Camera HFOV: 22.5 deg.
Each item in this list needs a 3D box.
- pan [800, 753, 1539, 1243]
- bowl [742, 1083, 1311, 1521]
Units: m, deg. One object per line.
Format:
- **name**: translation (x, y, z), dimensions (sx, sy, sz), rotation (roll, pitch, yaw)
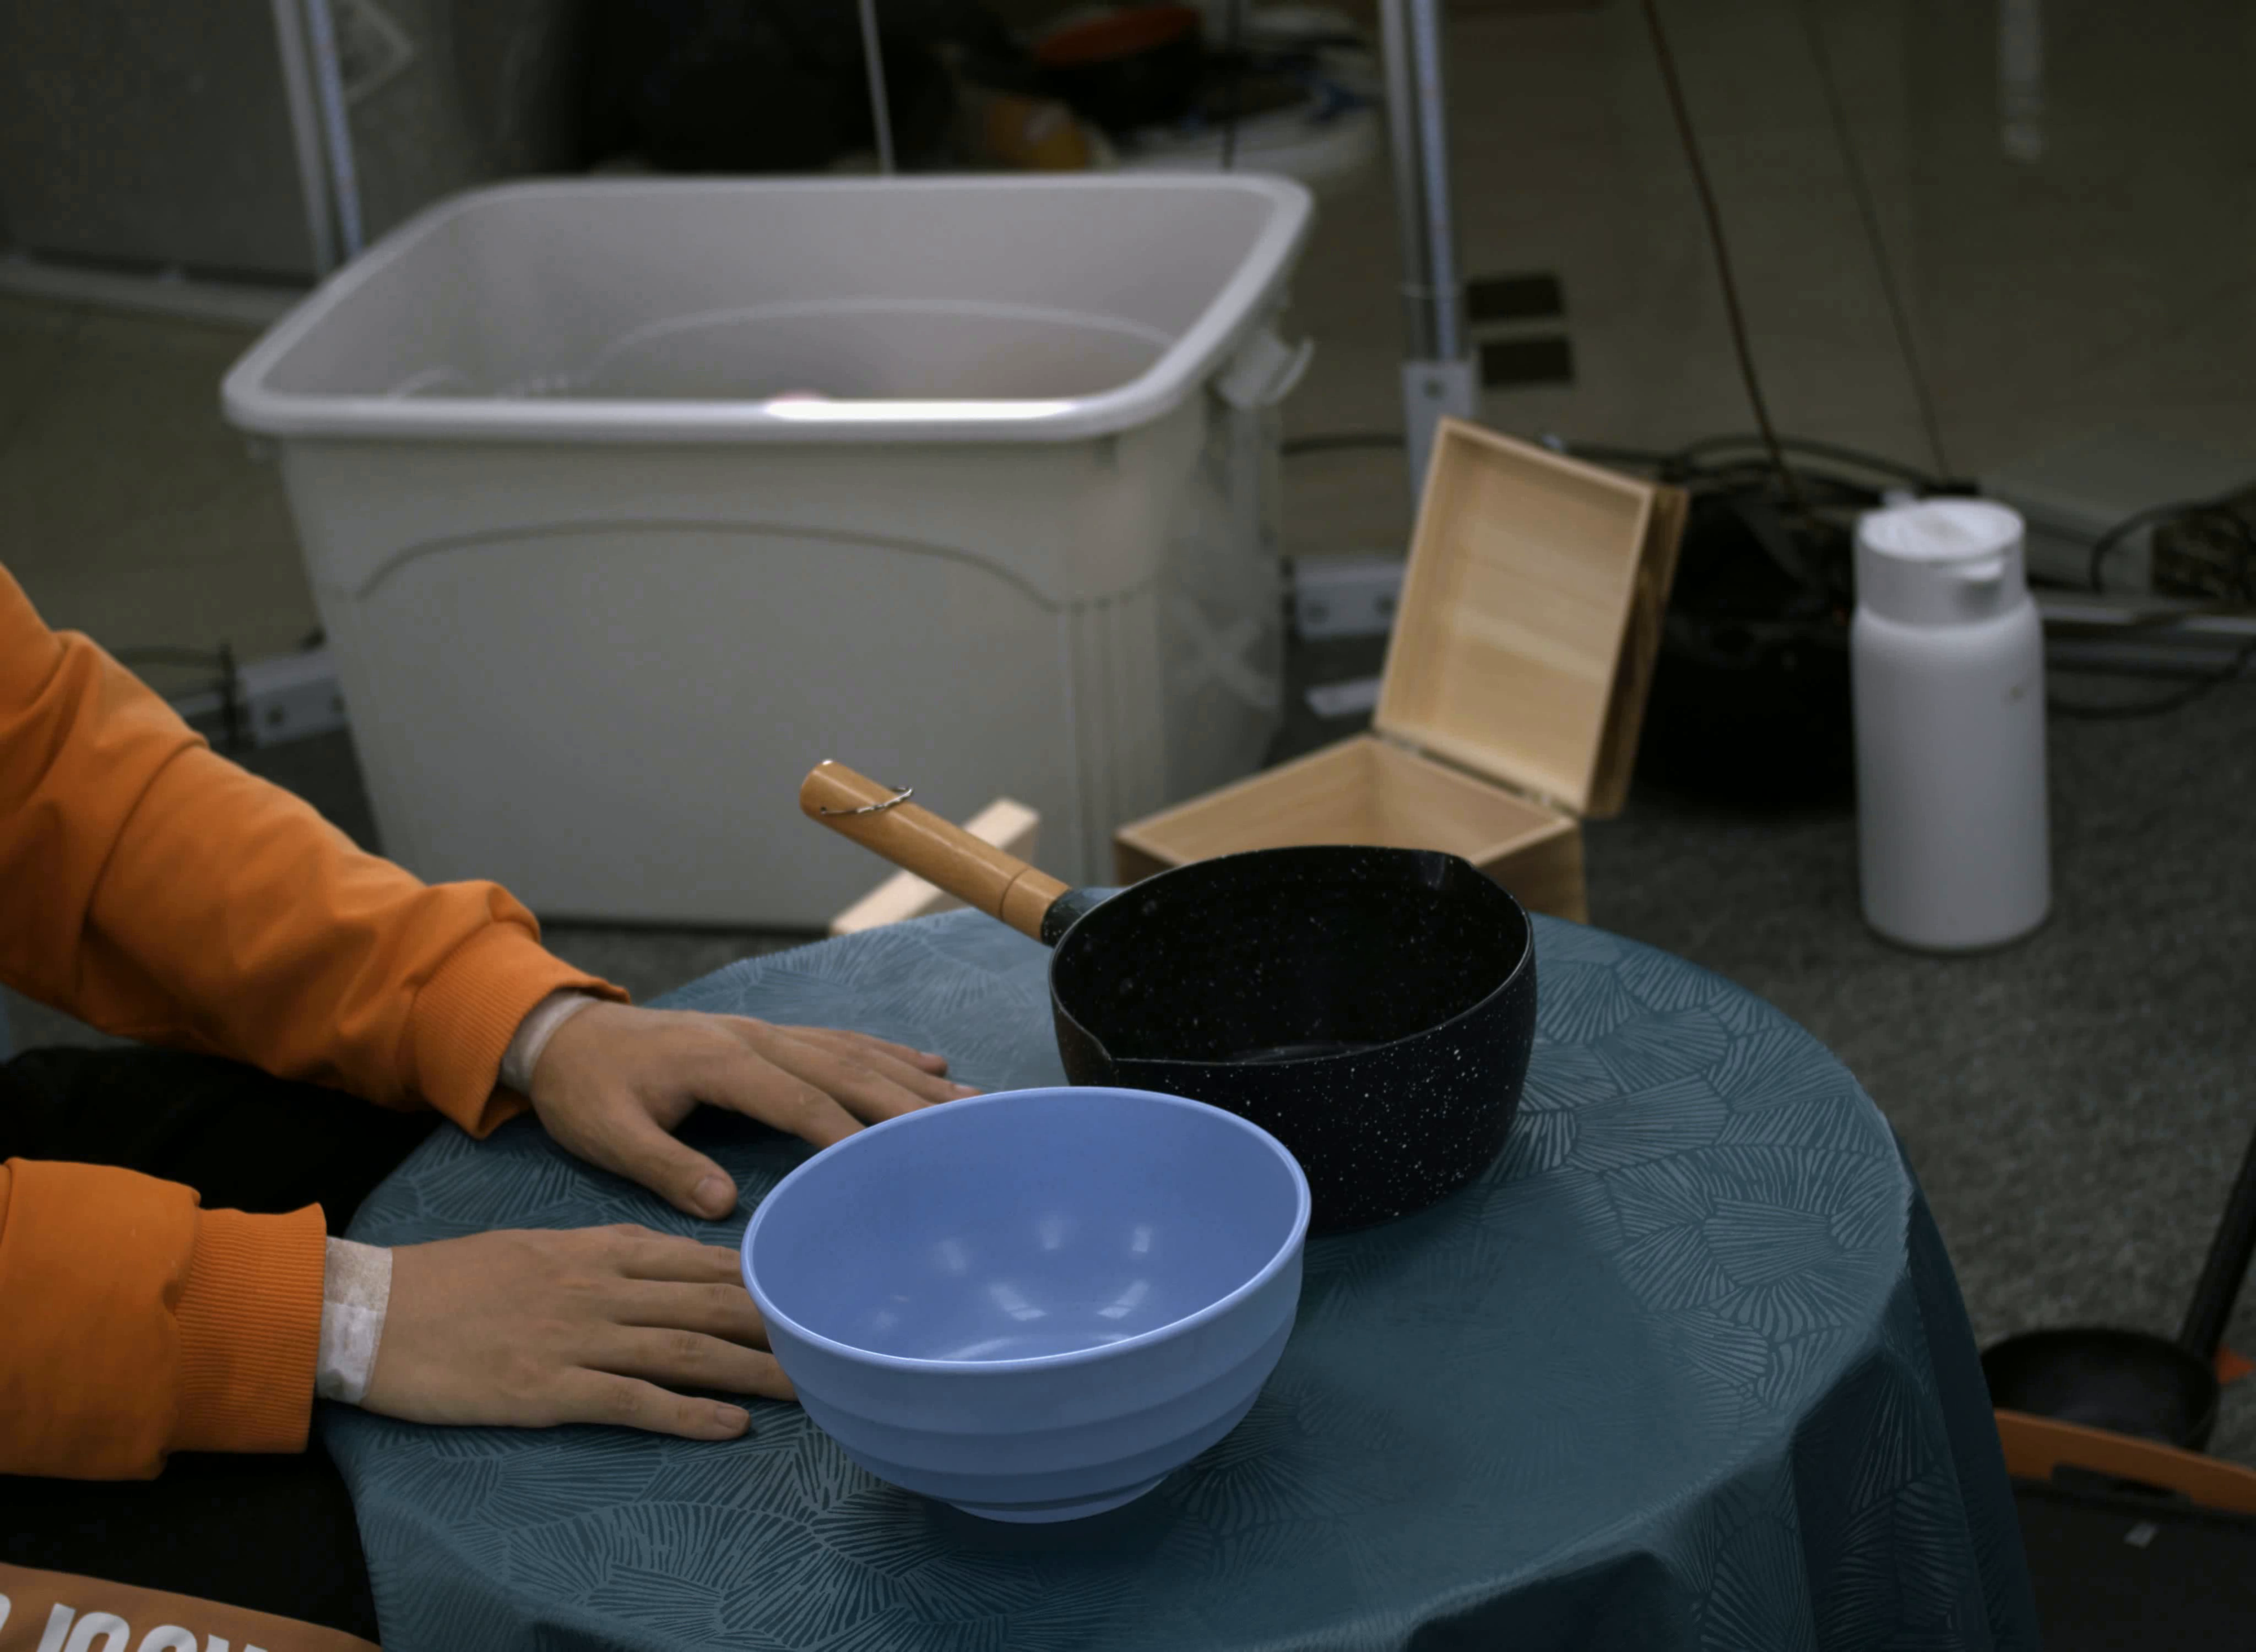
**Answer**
- **pan**: translation (0.004, 0.058, 2.190), dimensions (0.340, 0.110, 0.205), rotation (16, 35, 37)
- **bowl**: translation (-0.031, 0.176, 1.960), dimensions (0.196, 0.097, 0.193), rotation (-5, 26, 3)
